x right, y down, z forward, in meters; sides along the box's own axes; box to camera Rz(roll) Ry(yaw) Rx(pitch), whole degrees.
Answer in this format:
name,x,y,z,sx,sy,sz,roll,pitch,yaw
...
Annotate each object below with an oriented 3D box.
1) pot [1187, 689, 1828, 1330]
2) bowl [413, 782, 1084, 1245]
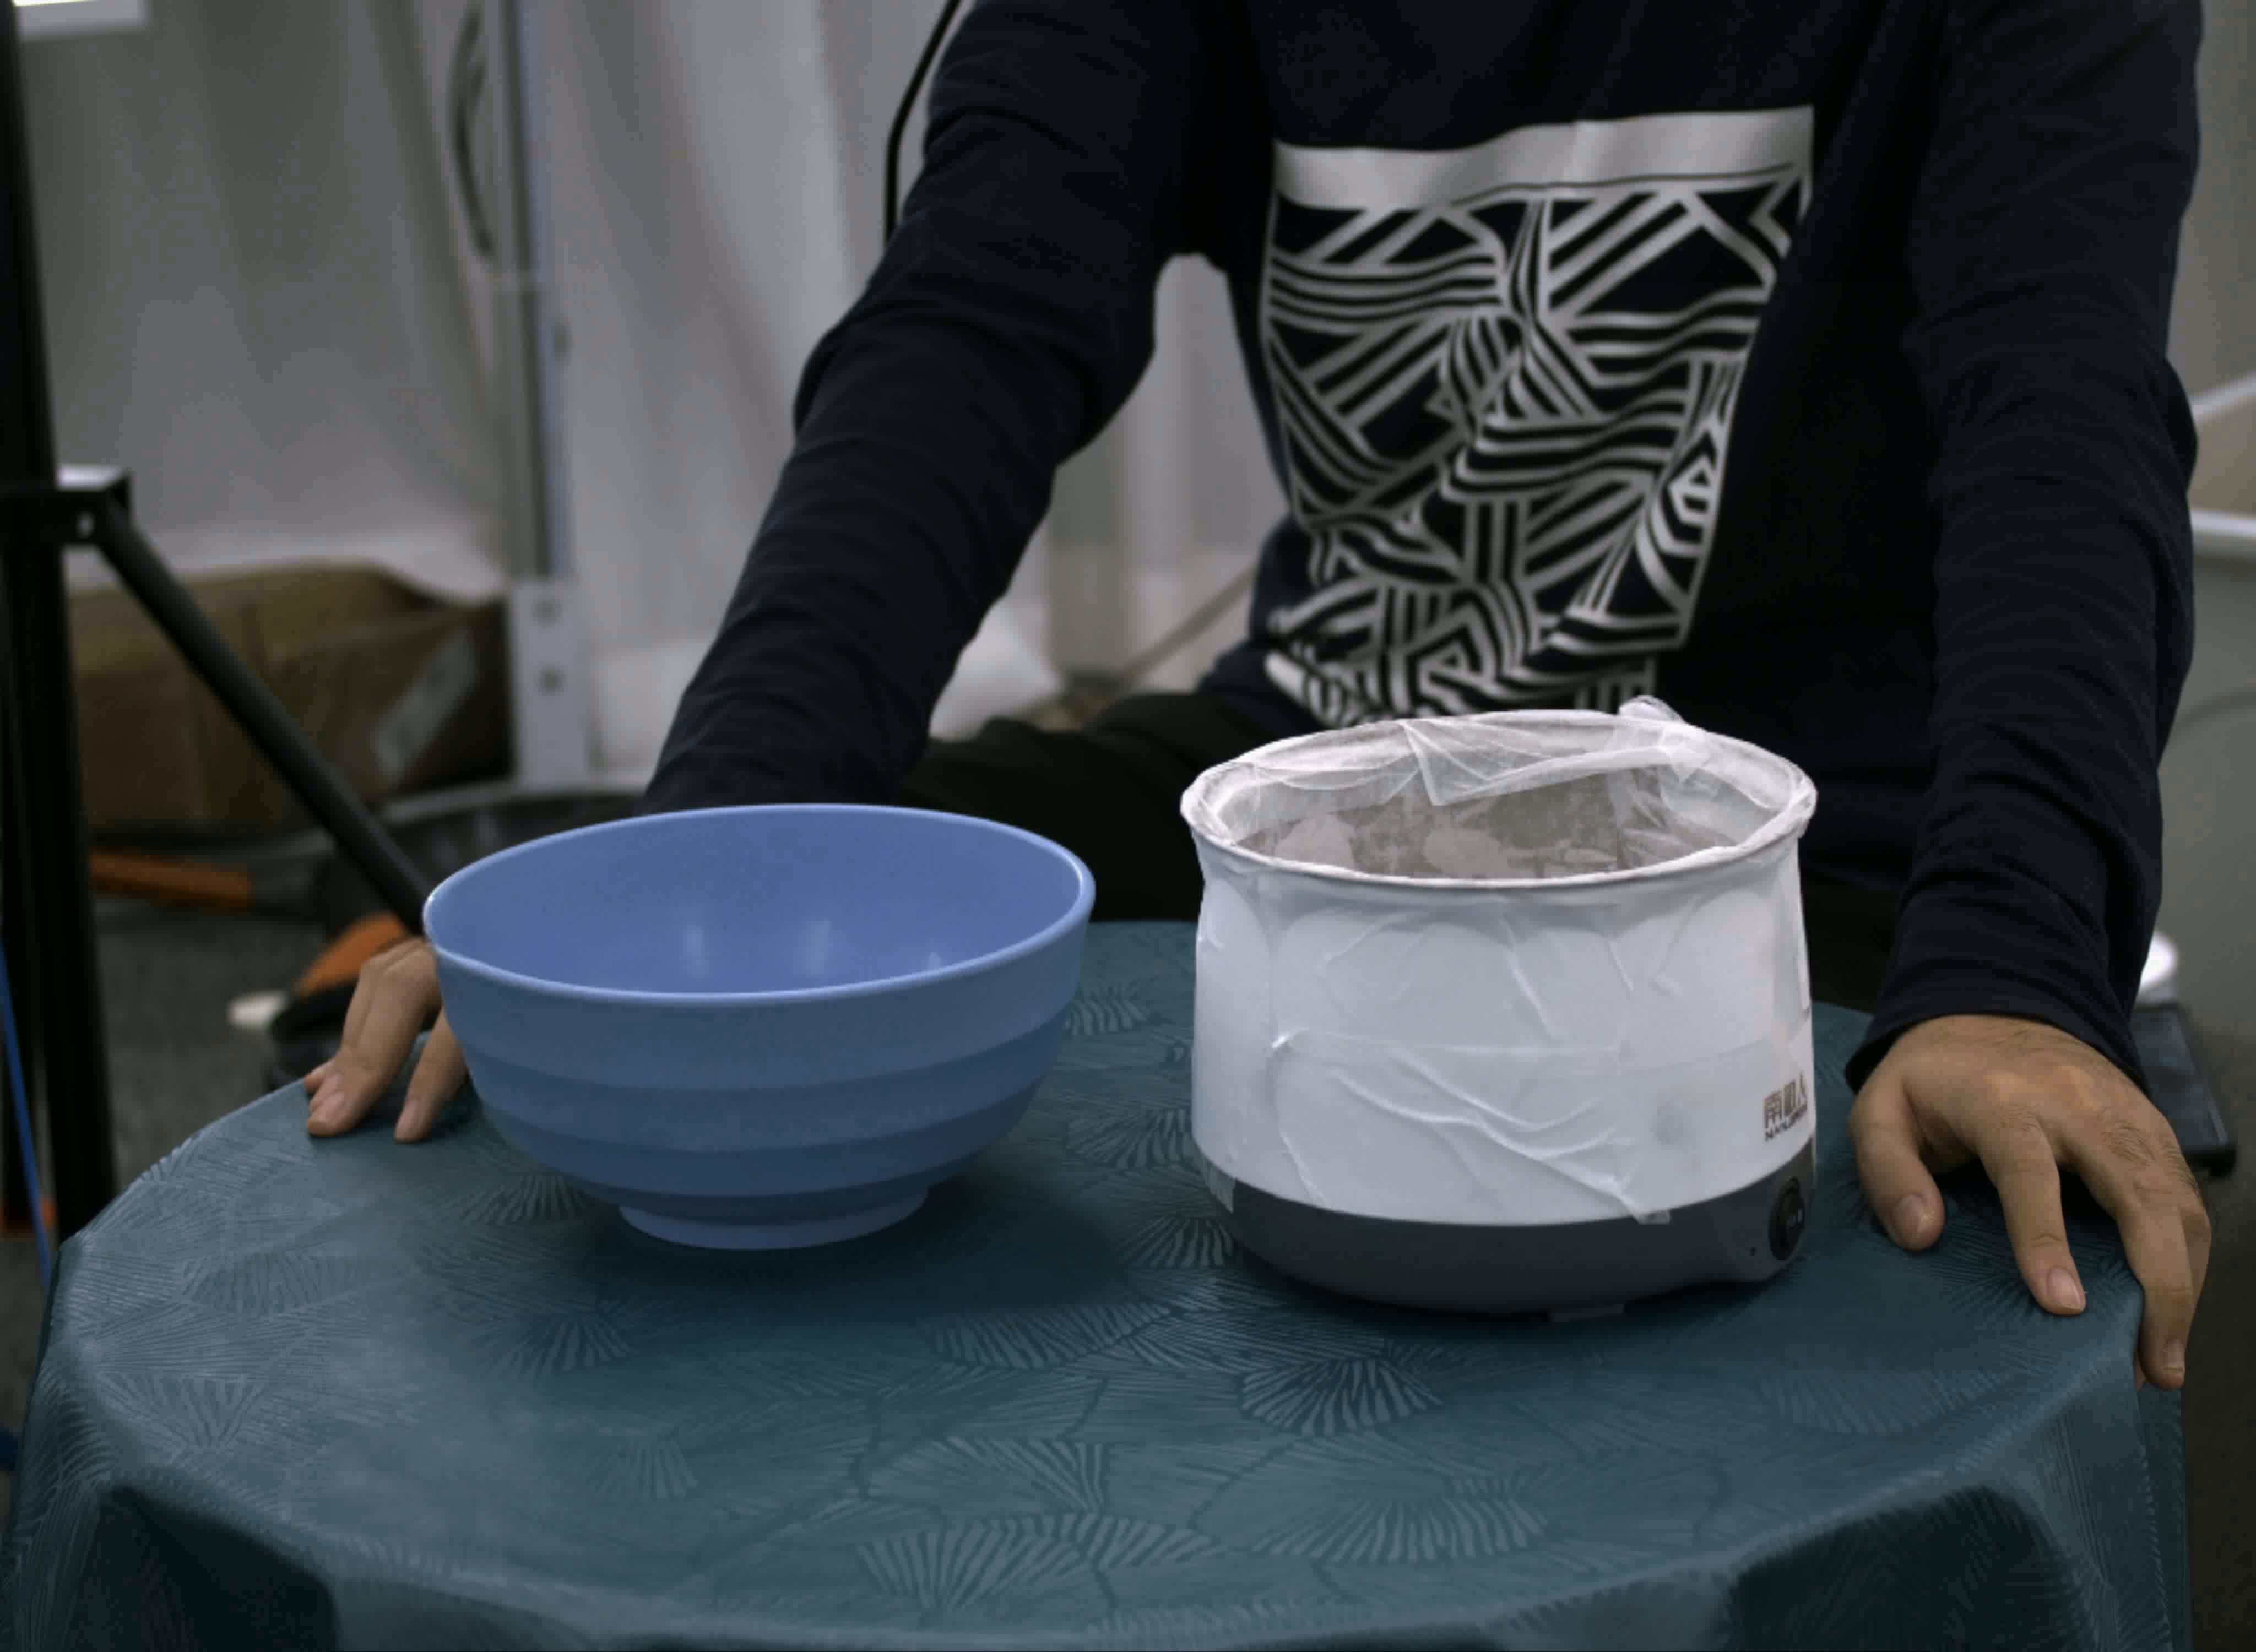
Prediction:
name,x,y,z,sx,sy,sz,roll,pitch,yaw
pot,0.118,0.044,1.515,0.182,0.136,0.230,9,20,27
bowl,-0.105,0.061,1.558,0.196,0.095,0.197,-6,18,1
